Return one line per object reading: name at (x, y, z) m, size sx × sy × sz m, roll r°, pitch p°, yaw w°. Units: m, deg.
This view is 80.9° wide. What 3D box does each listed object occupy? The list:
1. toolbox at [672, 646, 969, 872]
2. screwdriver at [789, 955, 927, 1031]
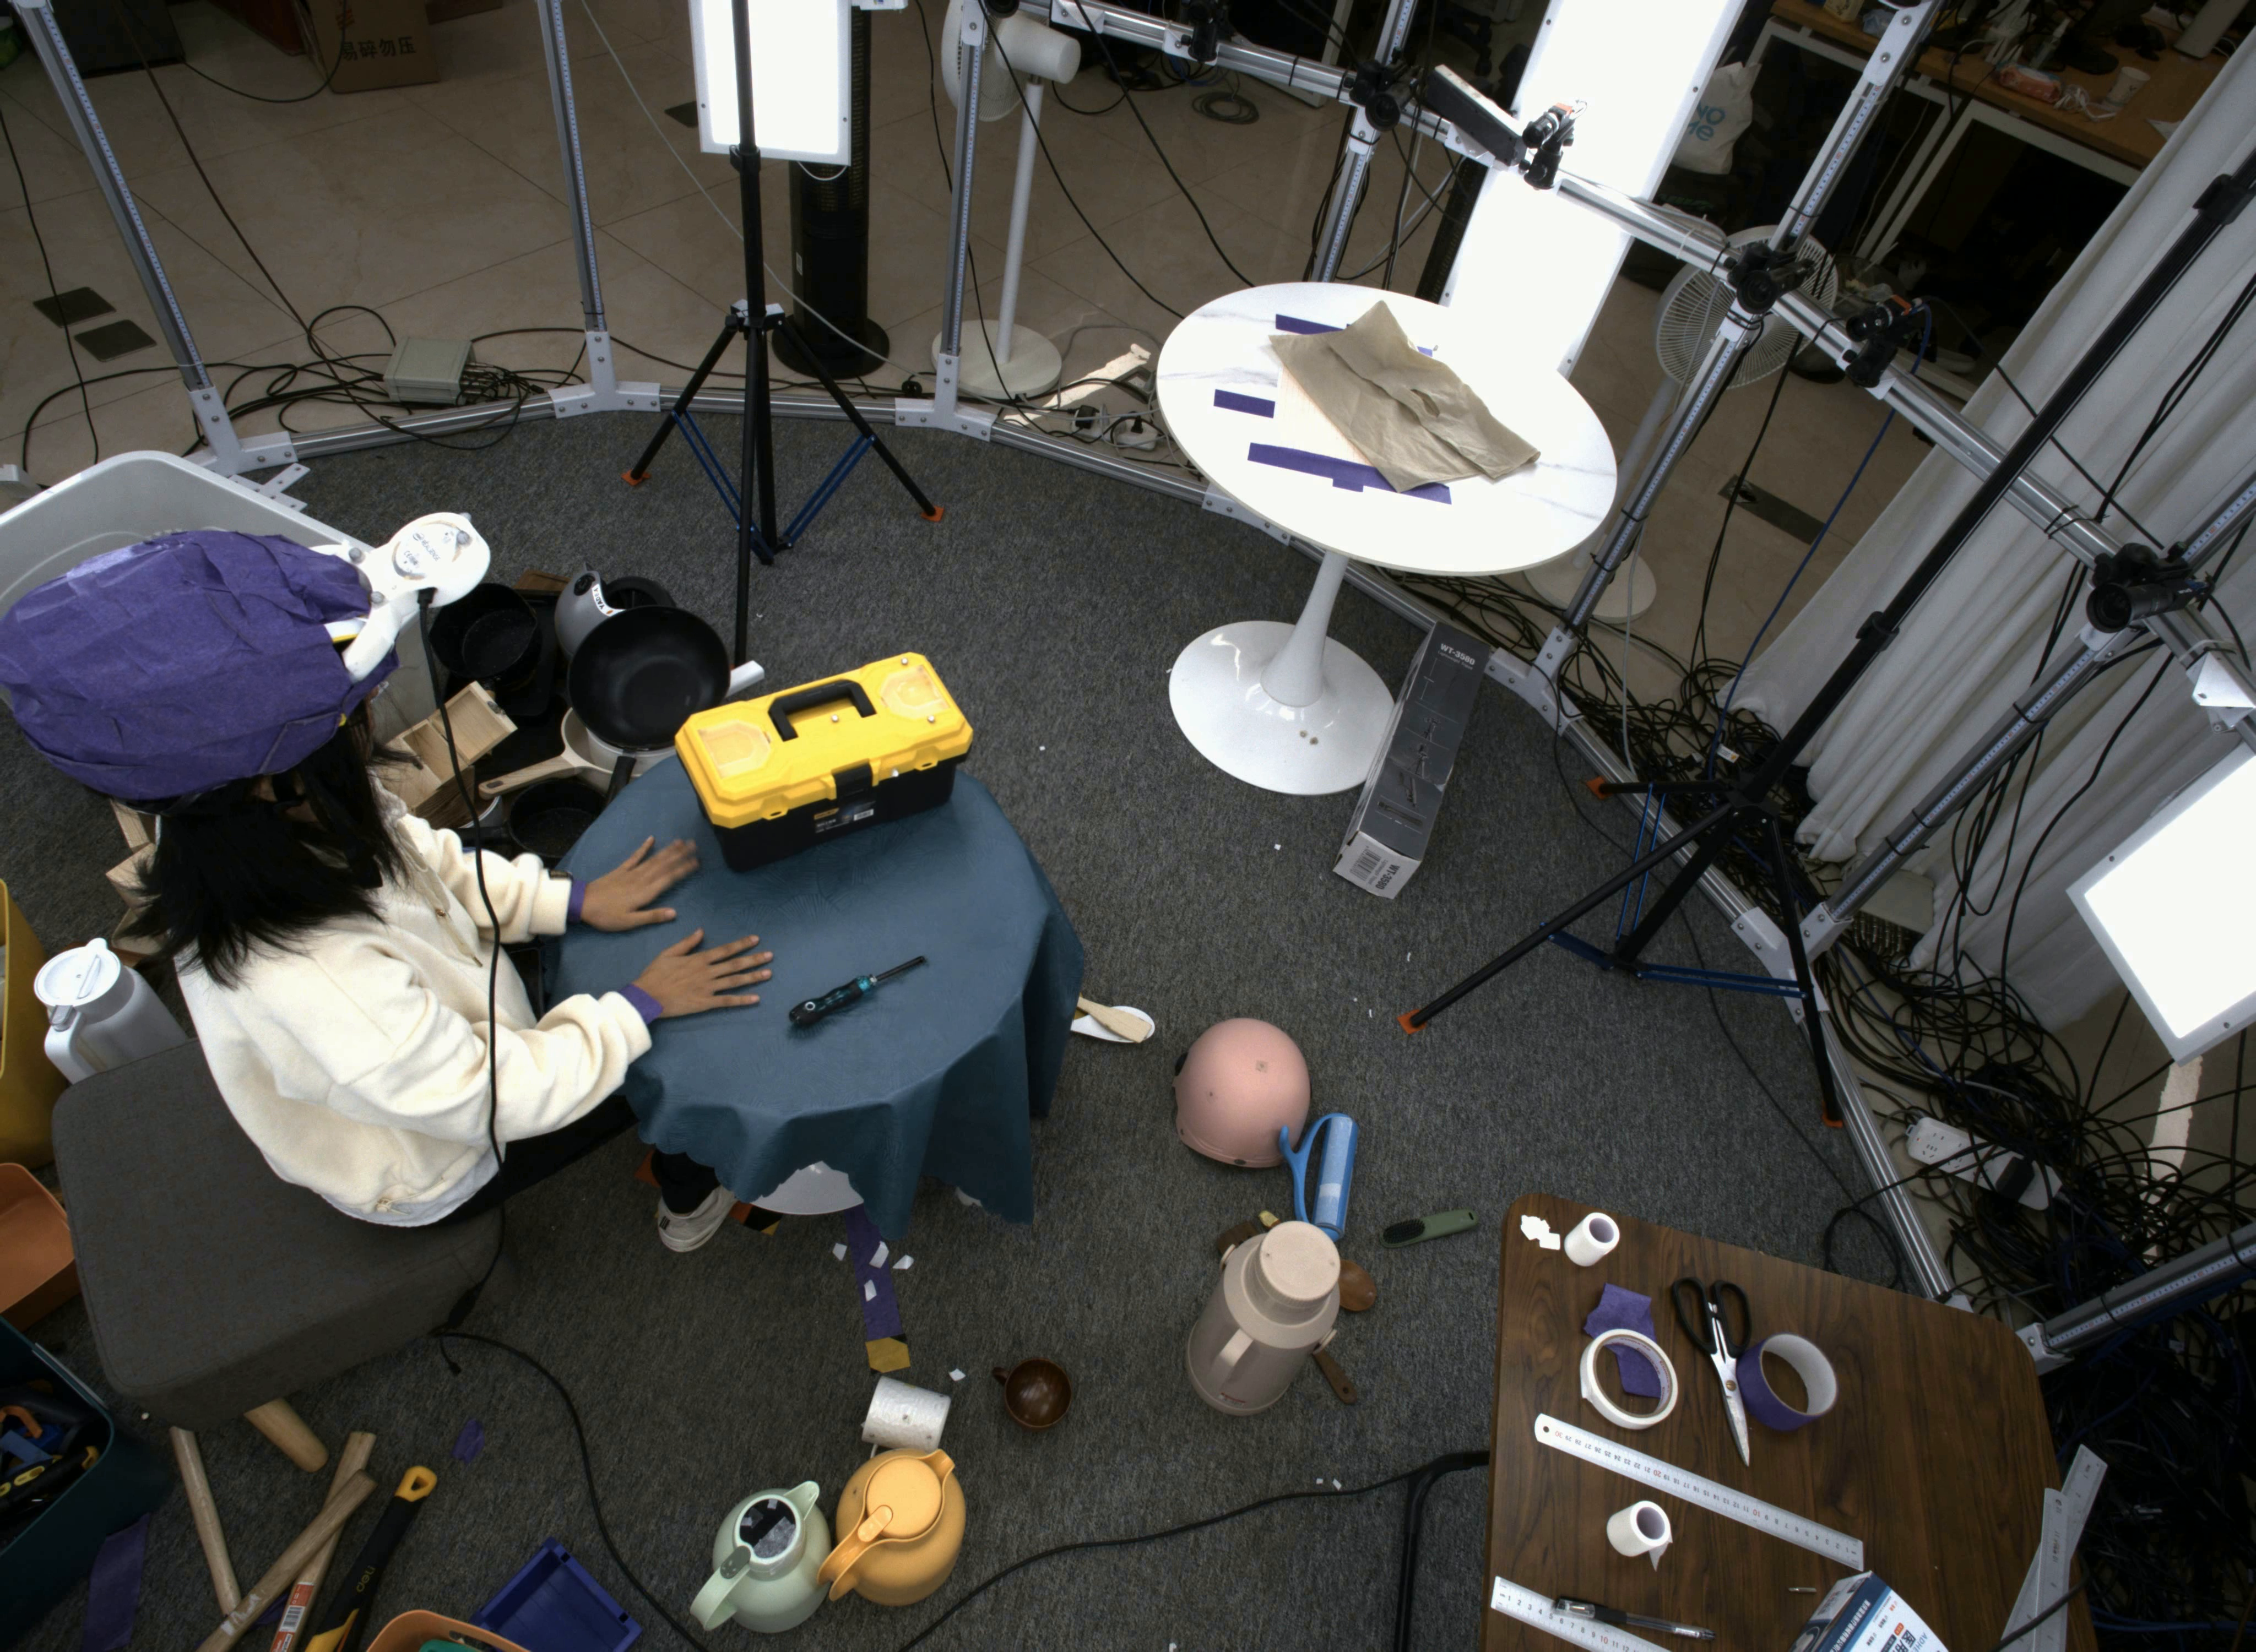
toolbox at (-0.393, -0.086, 1.679) m, size 0.353 × 0.176 × 0.177 m, roll -20°, pitch 60°, yaw -27°
screwdriver at (-0.325, 0.197, 1.584) m, size 0.191 × 0.034 × 0.033 m, roll -25°, pitch 61°, yaw -34°
